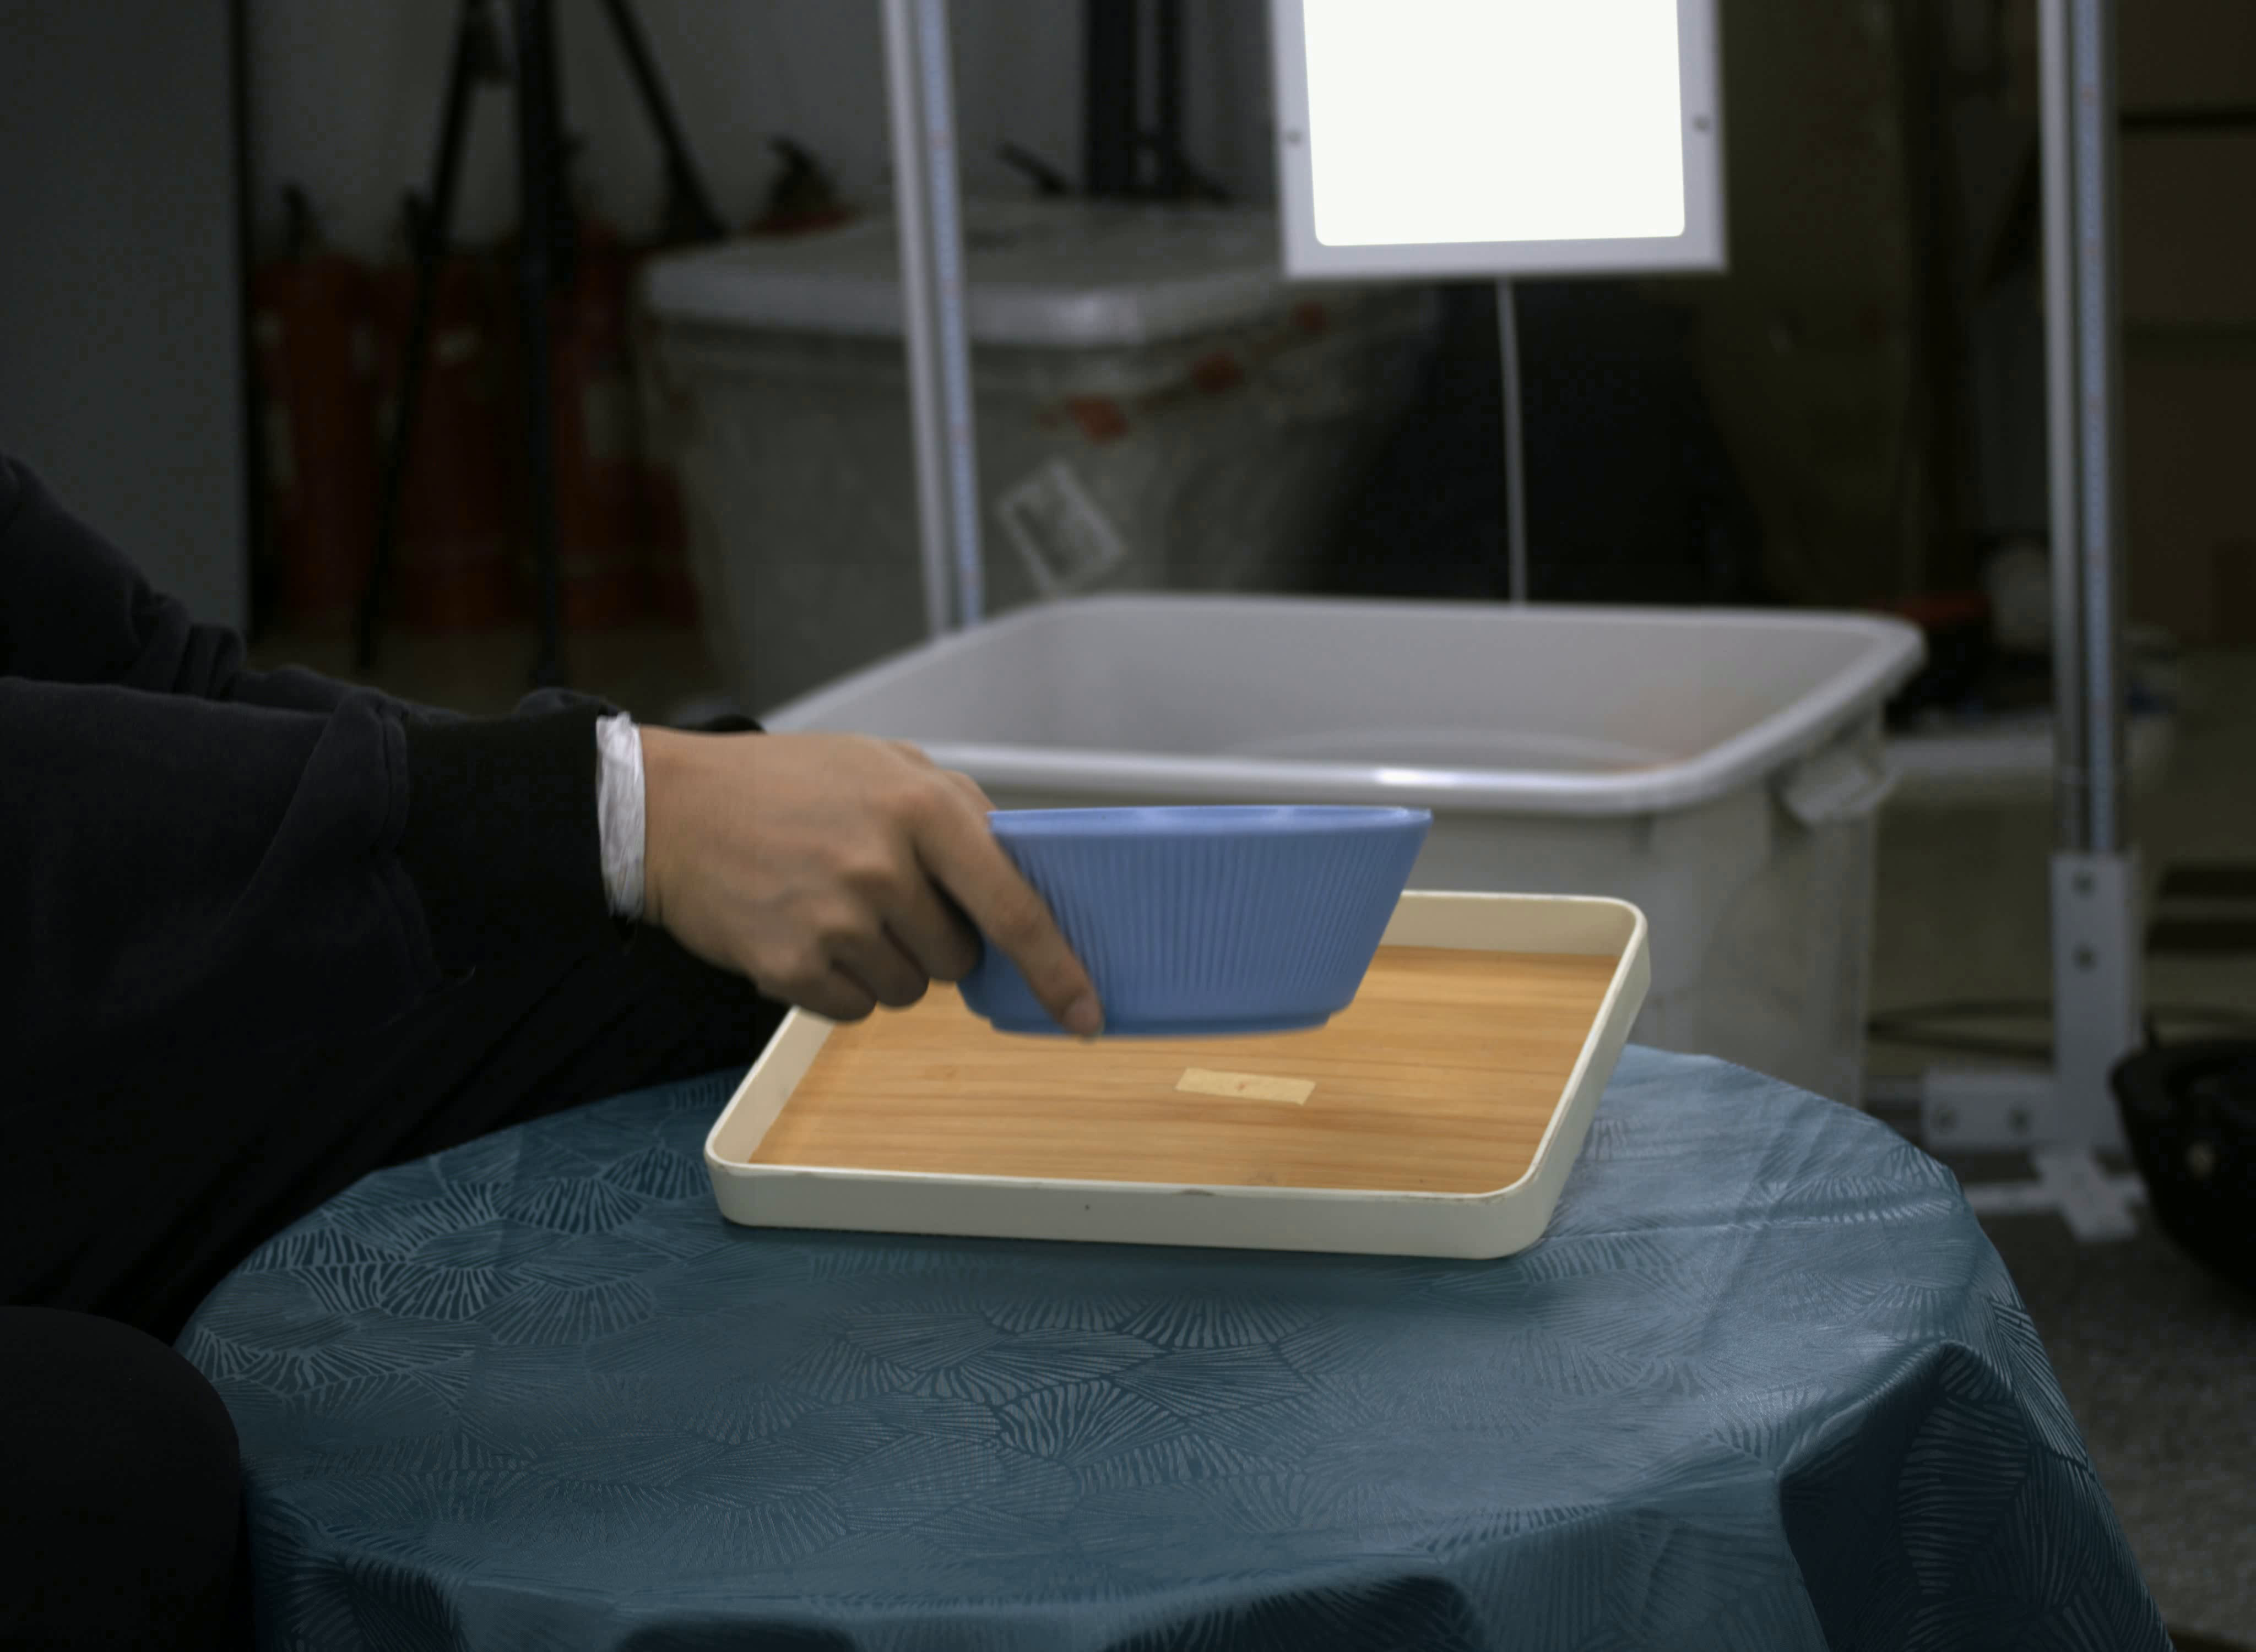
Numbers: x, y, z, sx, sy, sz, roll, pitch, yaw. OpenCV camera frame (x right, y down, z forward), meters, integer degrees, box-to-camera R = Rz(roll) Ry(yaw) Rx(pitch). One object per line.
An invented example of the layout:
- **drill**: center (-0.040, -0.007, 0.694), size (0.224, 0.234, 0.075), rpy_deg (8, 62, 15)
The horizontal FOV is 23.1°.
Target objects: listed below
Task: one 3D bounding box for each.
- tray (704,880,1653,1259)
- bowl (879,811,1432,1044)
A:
- **tray**: center (0.020, 0.081, 1.913), size (0.304, 0.027, 0.188), rpy_deg (1, 32, 22)
- **bowl**: center (0.008, 0.031, 1.744), size (0.175, 0.070, 0.176), rpy_deg (1, 3, -1)
